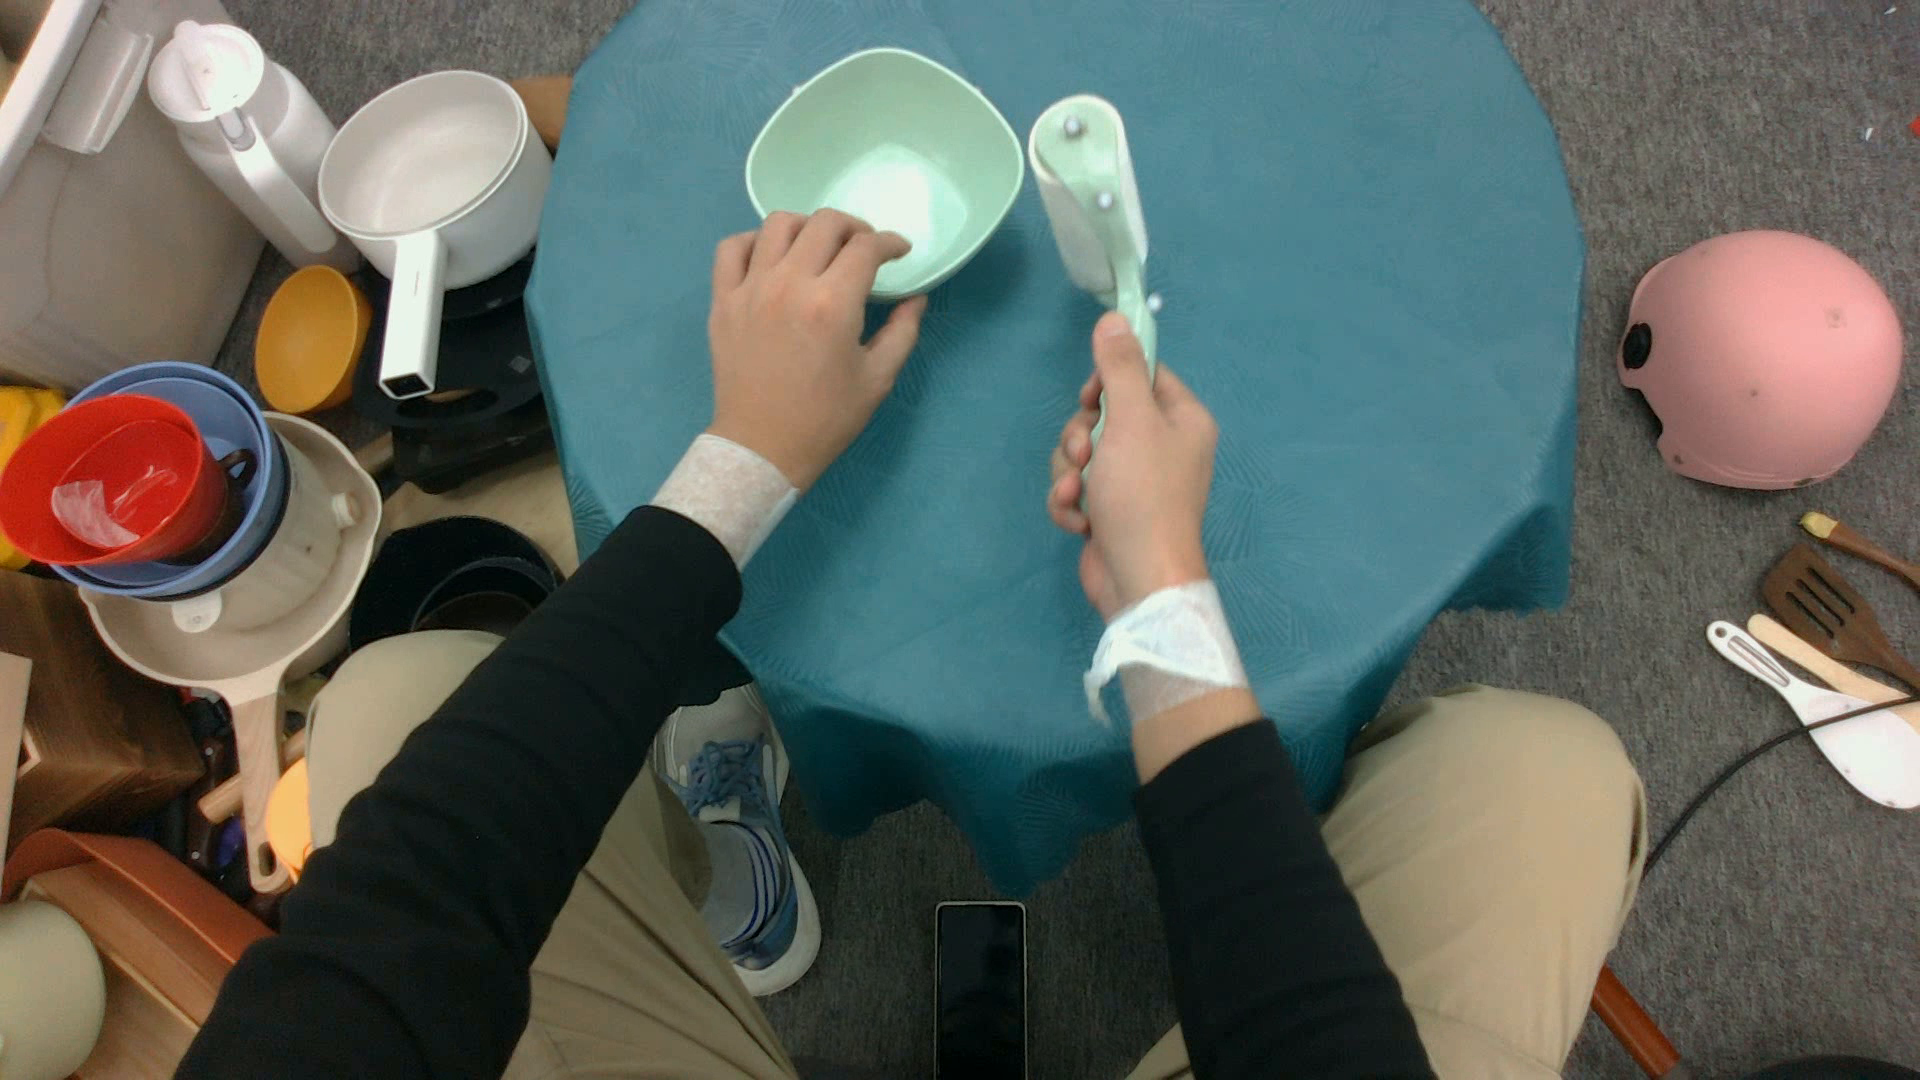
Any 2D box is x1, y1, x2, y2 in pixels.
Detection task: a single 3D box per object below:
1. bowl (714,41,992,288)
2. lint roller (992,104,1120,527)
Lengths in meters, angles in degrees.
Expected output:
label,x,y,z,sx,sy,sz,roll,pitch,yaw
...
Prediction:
label,x,y,z,sx,sy,sz,roll,pitch,yaw
bowl,-0.058,-0.200,0.773,0.151,0.058,0.152,0,71,0
lint roller,0.054,-0.103,0.671,0.048,0.116,0.198,-9,70,9
